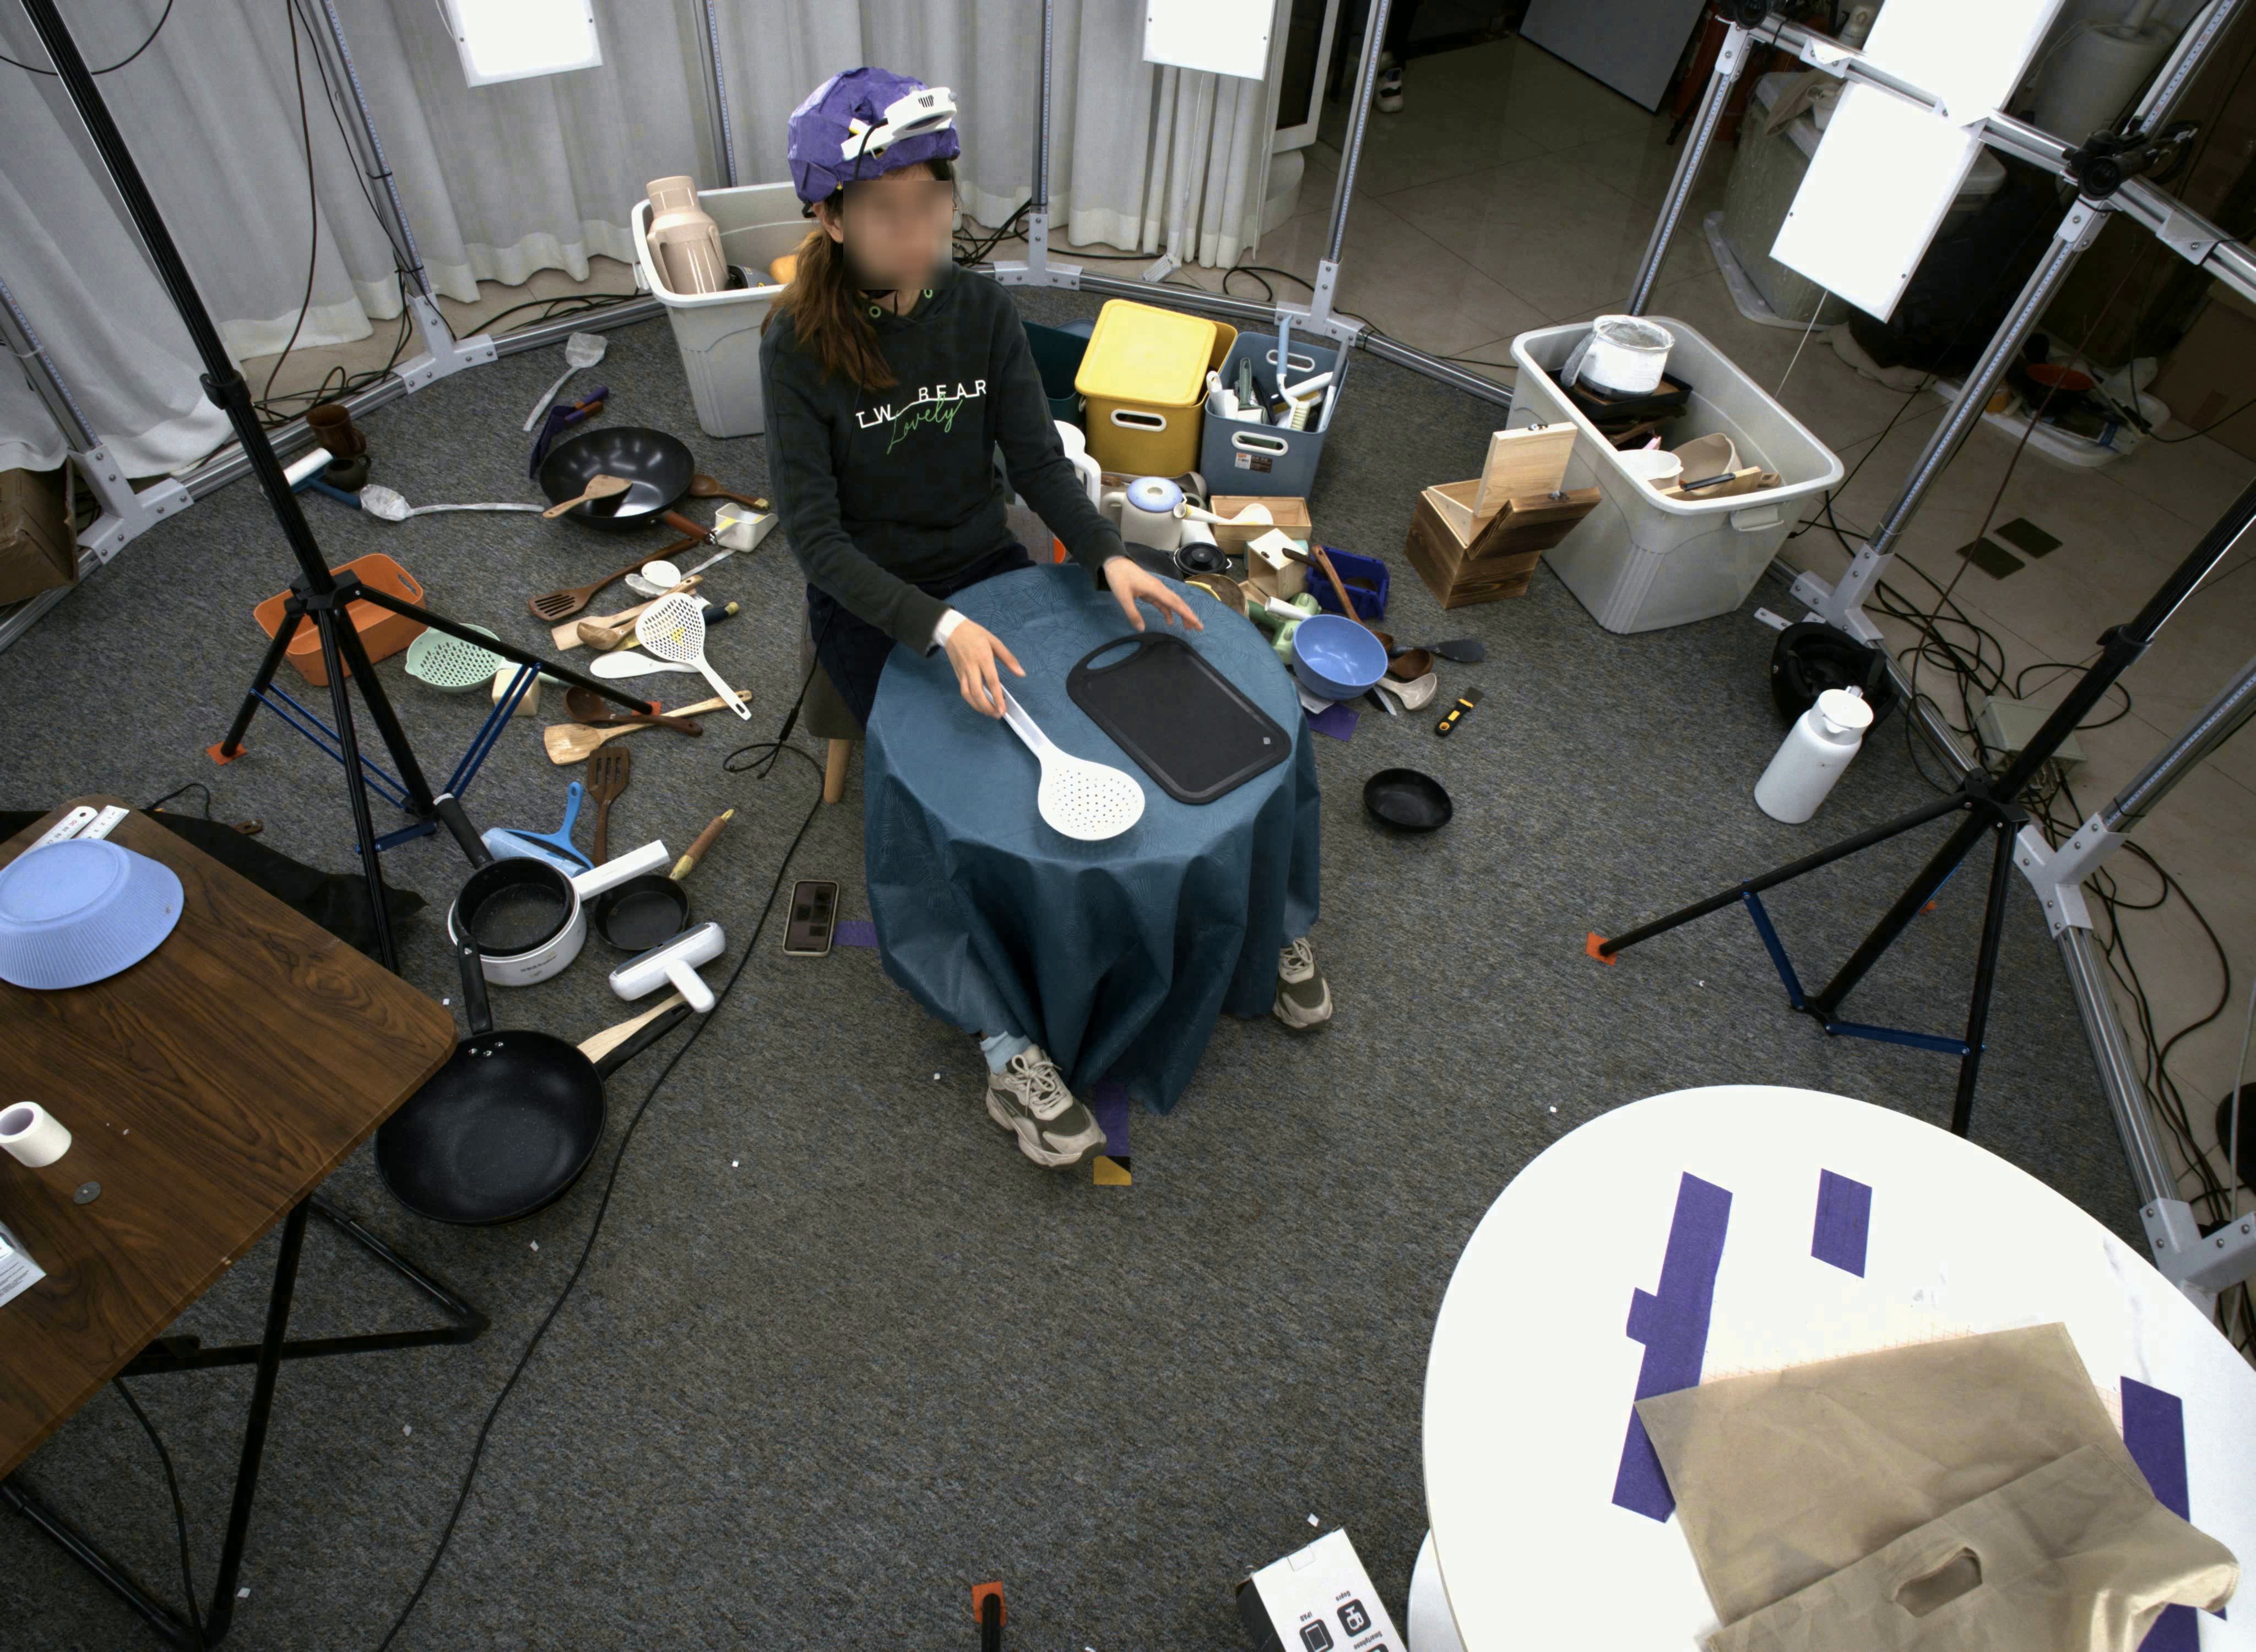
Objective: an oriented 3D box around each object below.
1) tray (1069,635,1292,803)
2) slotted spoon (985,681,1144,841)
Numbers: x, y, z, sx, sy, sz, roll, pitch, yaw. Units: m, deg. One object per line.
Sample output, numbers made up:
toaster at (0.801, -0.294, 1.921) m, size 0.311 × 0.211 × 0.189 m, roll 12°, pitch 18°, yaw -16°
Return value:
tray at (0.066, -0.164, 1.827) m, size 0.212 × 0.009 × 0.331 m, roll -28°, pitch 56°, yaw -26°
slotted spoon at (-0.104, -0.093, 1.728) m, size 0.136 × 0.044 × 0.357 m, roll -22°, pitch 53°, yaw -23°
